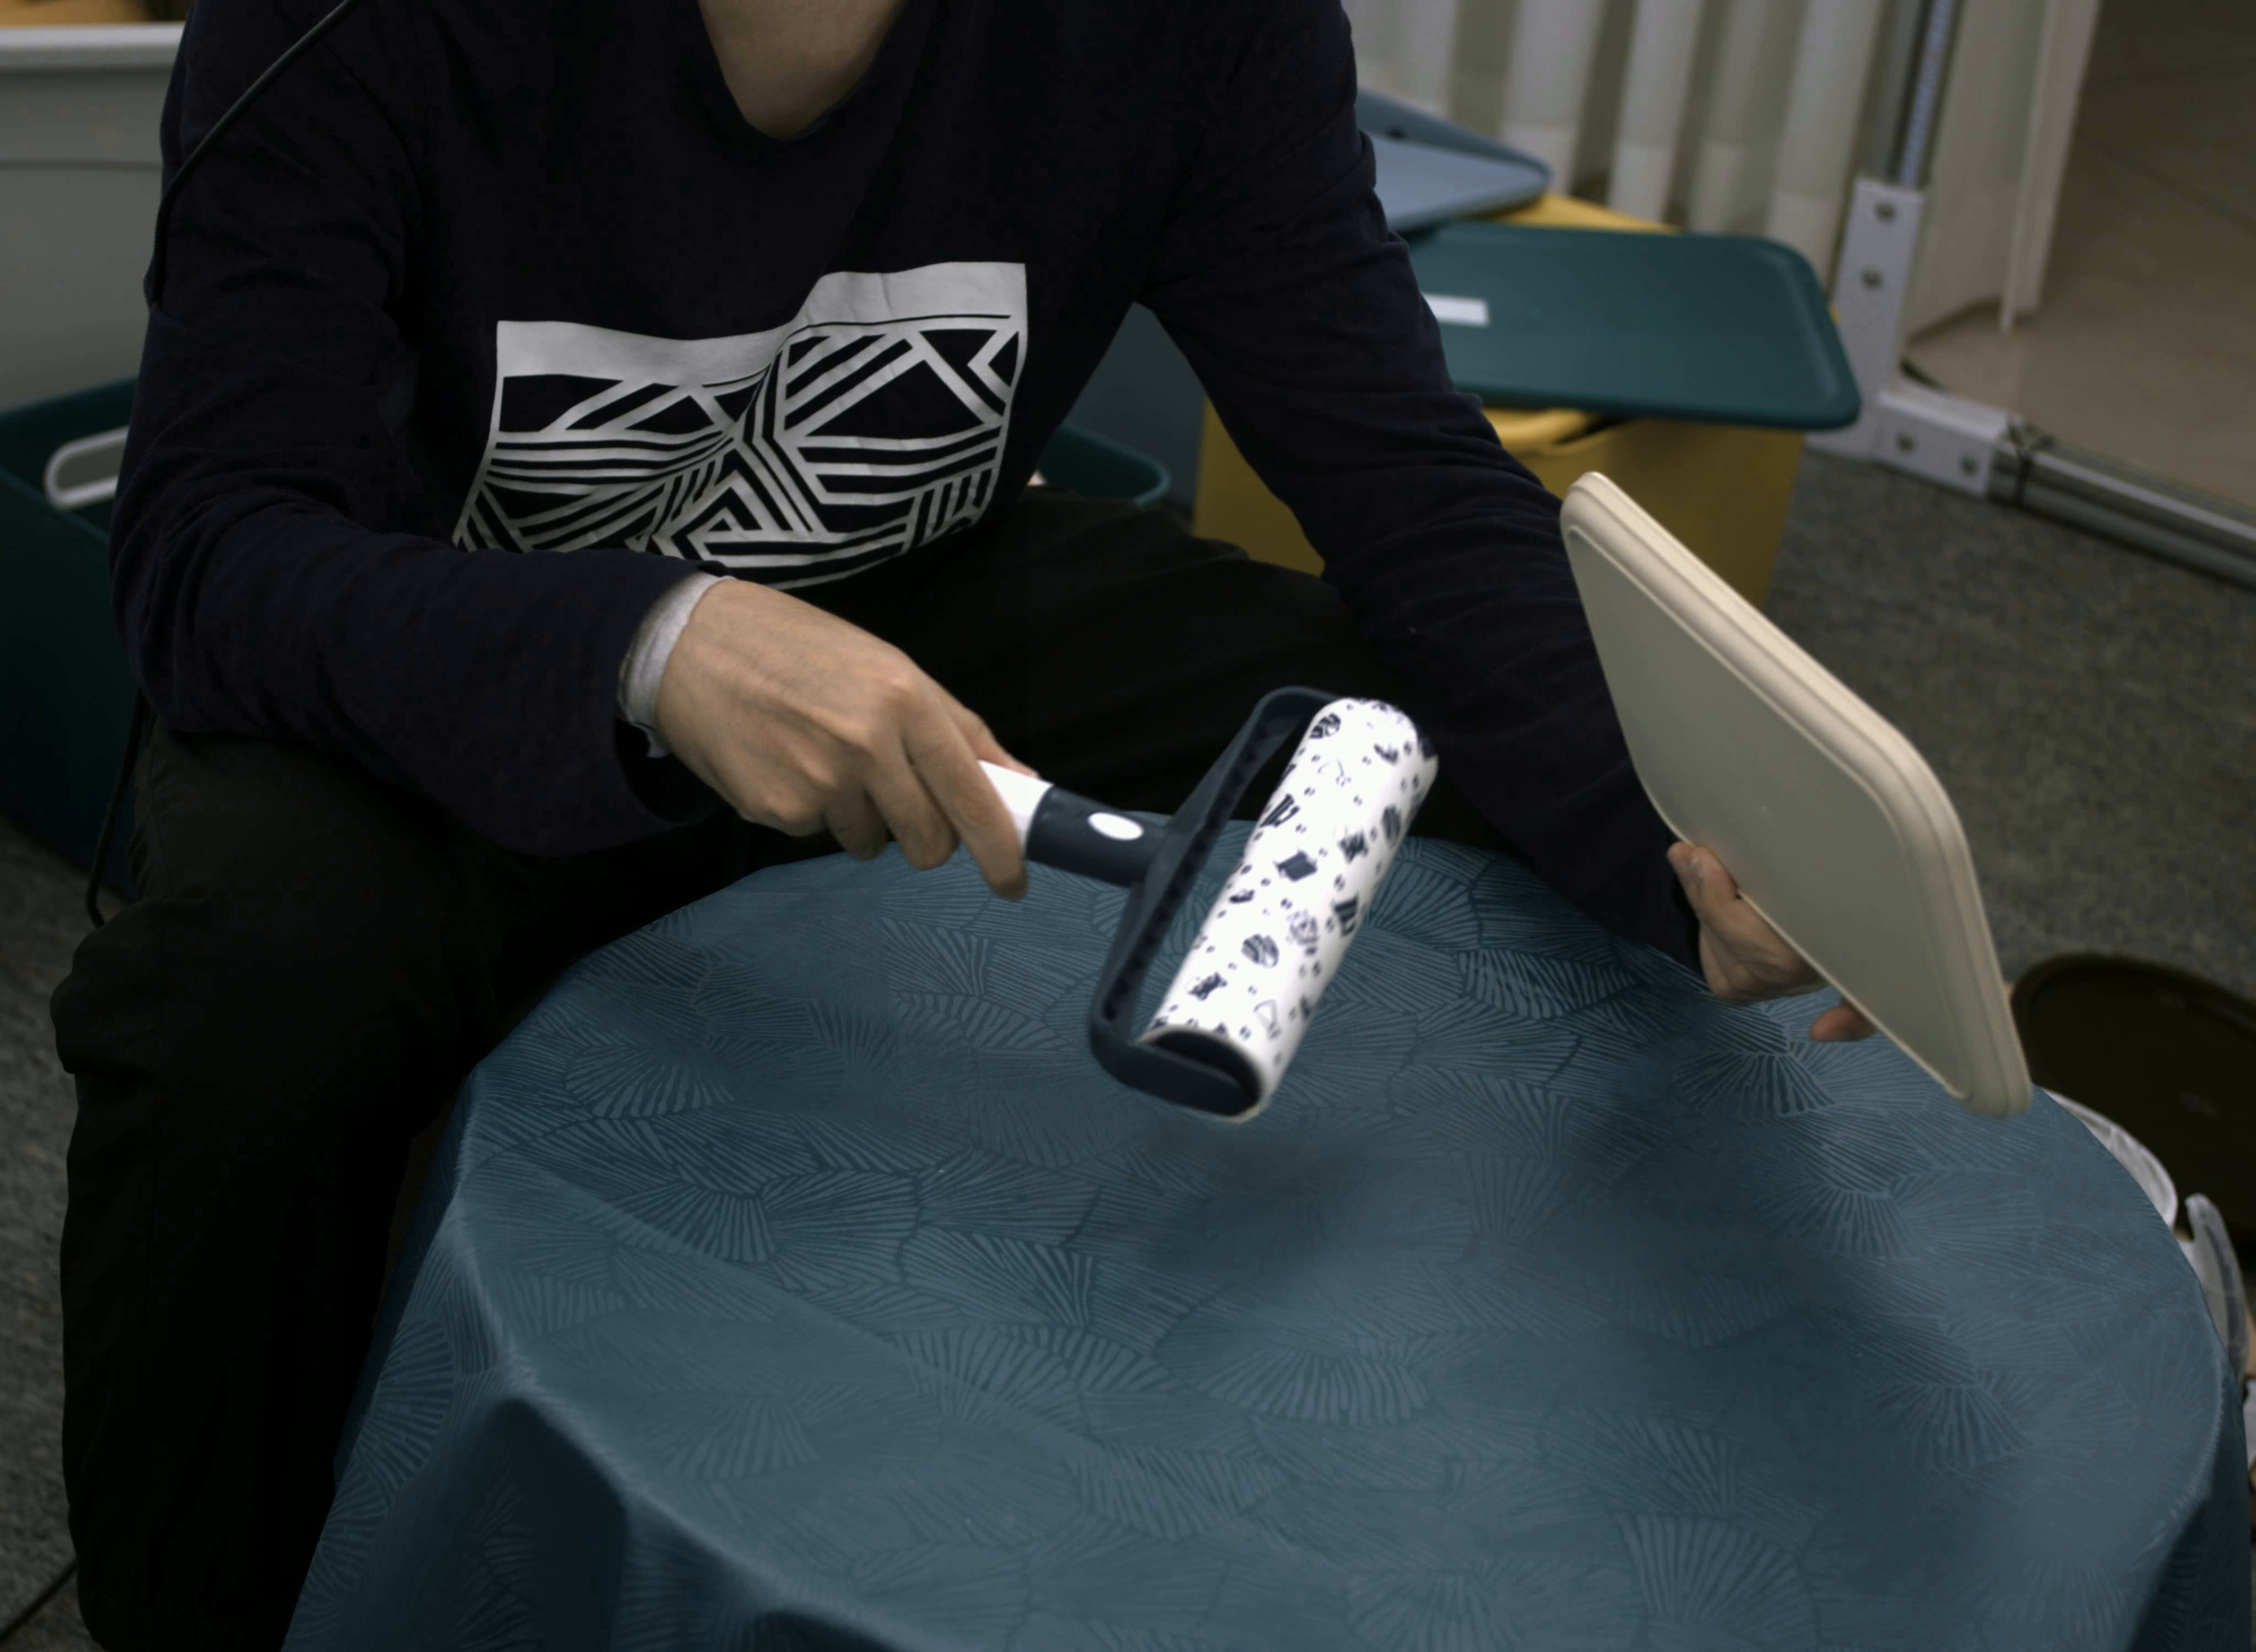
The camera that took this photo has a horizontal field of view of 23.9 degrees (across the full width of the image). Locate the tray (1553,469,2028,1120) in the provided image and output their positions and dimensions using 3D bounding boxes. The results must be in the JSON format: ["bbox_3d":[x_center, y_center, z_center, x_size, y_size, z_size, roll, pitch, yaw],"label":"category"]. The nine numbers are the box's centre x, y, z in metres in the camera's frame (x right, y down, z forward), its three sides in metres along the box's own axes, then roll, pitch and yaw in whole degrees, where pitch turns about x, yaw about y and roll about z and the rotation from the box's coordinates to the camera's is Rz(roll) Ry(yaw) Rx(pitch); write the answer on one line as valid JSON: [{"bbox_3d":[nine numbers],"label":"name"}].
[{"bbox_3d":[0.217,-0.010,1.785,0.017,0.170,0.242,-30,39,-10],"label":"tray"}]

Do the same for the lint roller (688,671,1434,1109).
[{"bbox_3d":[-0.037,-0.006,1.819,0.247,0.050,0.177,17,51,13],"label":"lint roller"}]
